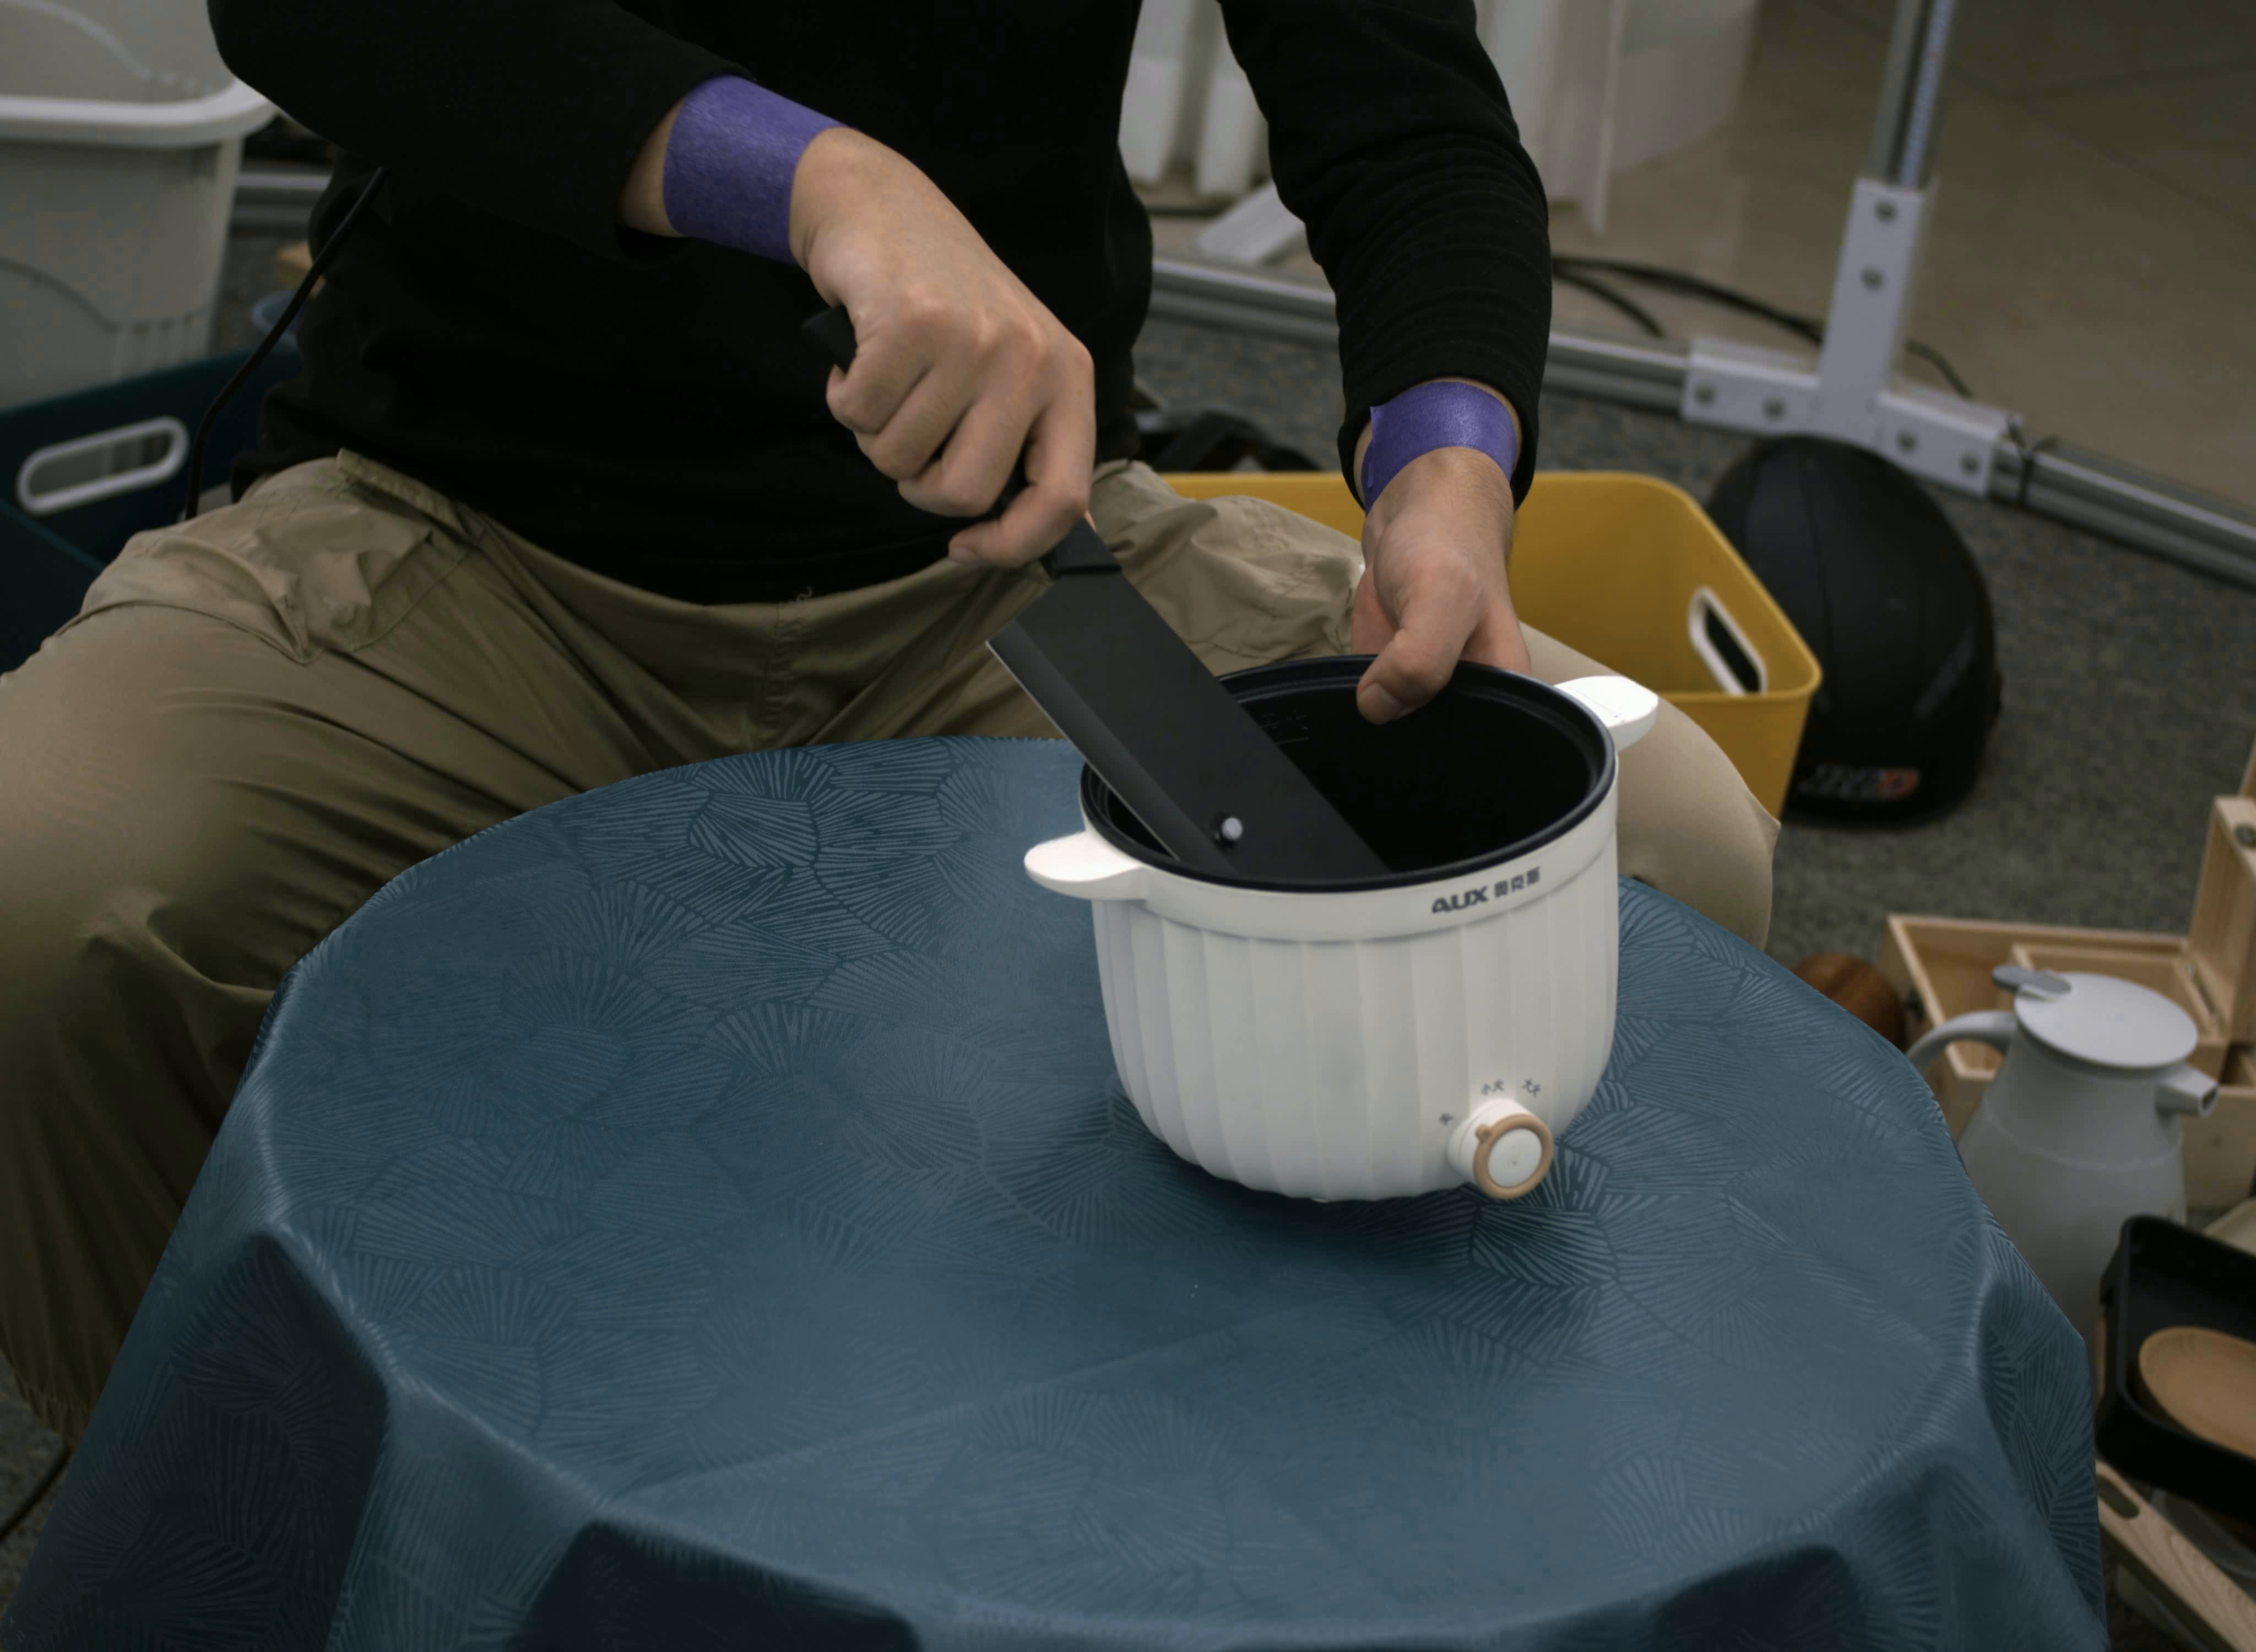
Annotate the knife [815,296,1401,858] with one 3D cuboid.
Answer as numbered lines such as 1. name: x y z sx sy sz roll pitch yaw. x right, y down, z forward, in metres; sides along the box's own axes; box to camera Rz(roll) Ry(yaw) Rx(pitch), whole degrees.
1. knife: -0.001 -0.060 1.796 0.303 0.021 0.081 51 50 4

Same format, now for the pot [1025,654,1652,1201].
1. pot: 0.082 0.040 1.813 0.239 0.142 0.192 -17 24 -23
